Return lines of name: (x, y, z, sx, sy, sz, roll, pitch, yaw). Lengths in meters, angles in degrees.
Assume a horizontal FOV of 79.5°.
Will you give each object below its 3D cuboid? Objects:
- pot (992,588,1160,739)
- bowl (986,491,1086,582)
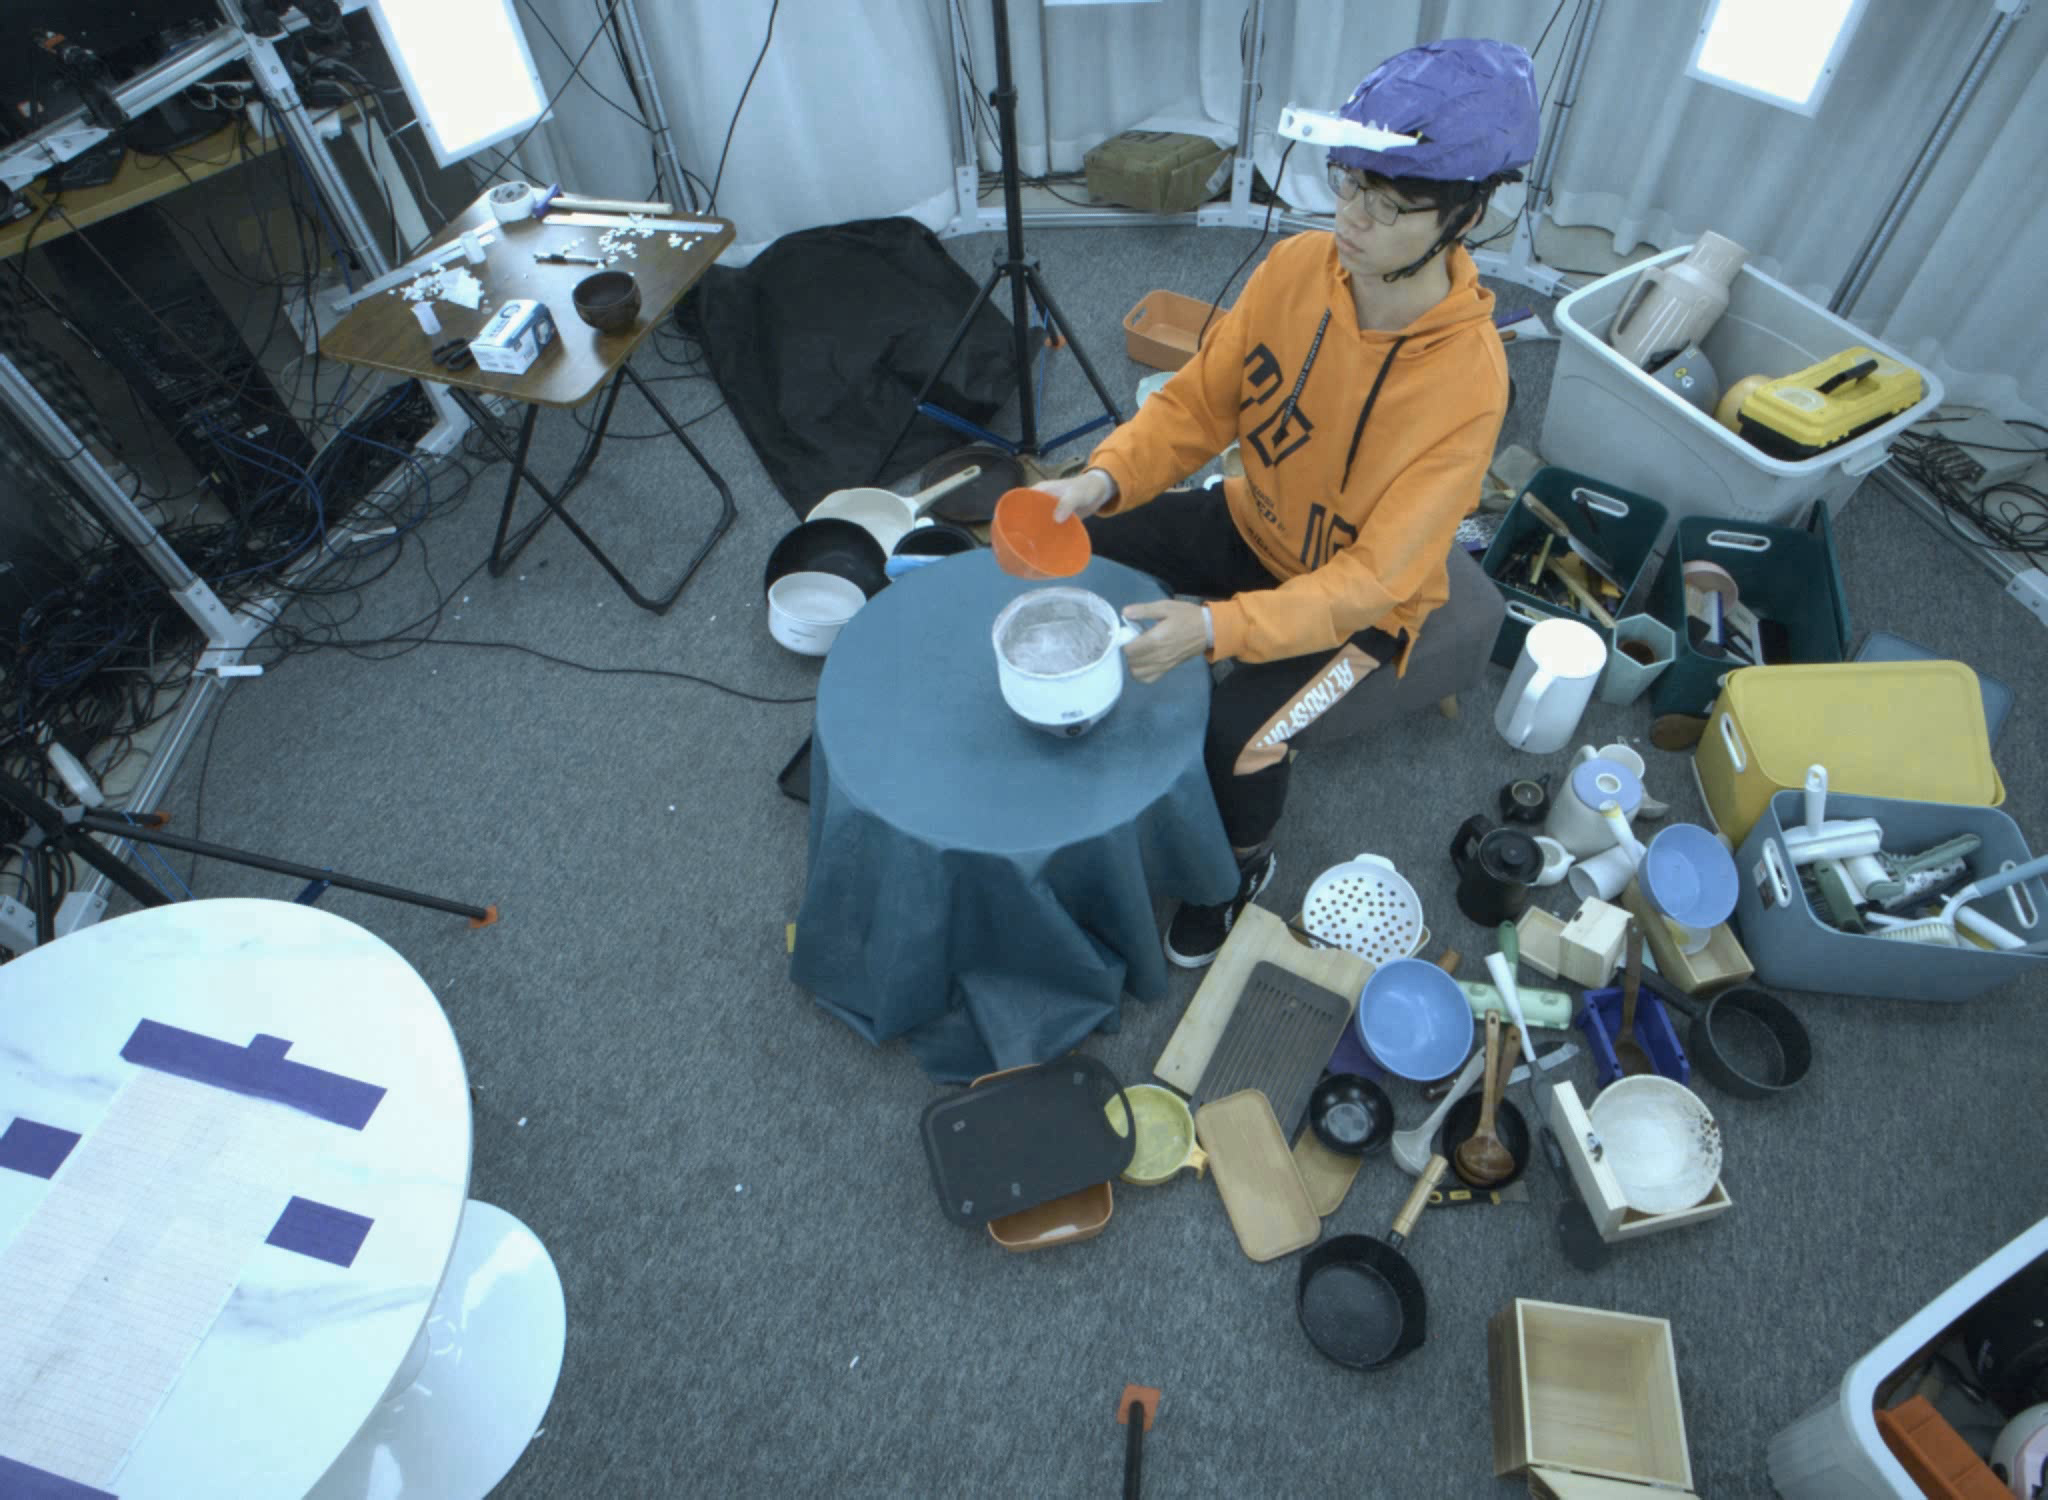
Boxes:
pot: (0.077, -0.129, 1.749, 0.234, 0.138, 0.176, -13, 53, -4)
bowl: (0.002, -0.281, 1.702, 0.151, 0.103, 0.147, 13, 63, -25)
